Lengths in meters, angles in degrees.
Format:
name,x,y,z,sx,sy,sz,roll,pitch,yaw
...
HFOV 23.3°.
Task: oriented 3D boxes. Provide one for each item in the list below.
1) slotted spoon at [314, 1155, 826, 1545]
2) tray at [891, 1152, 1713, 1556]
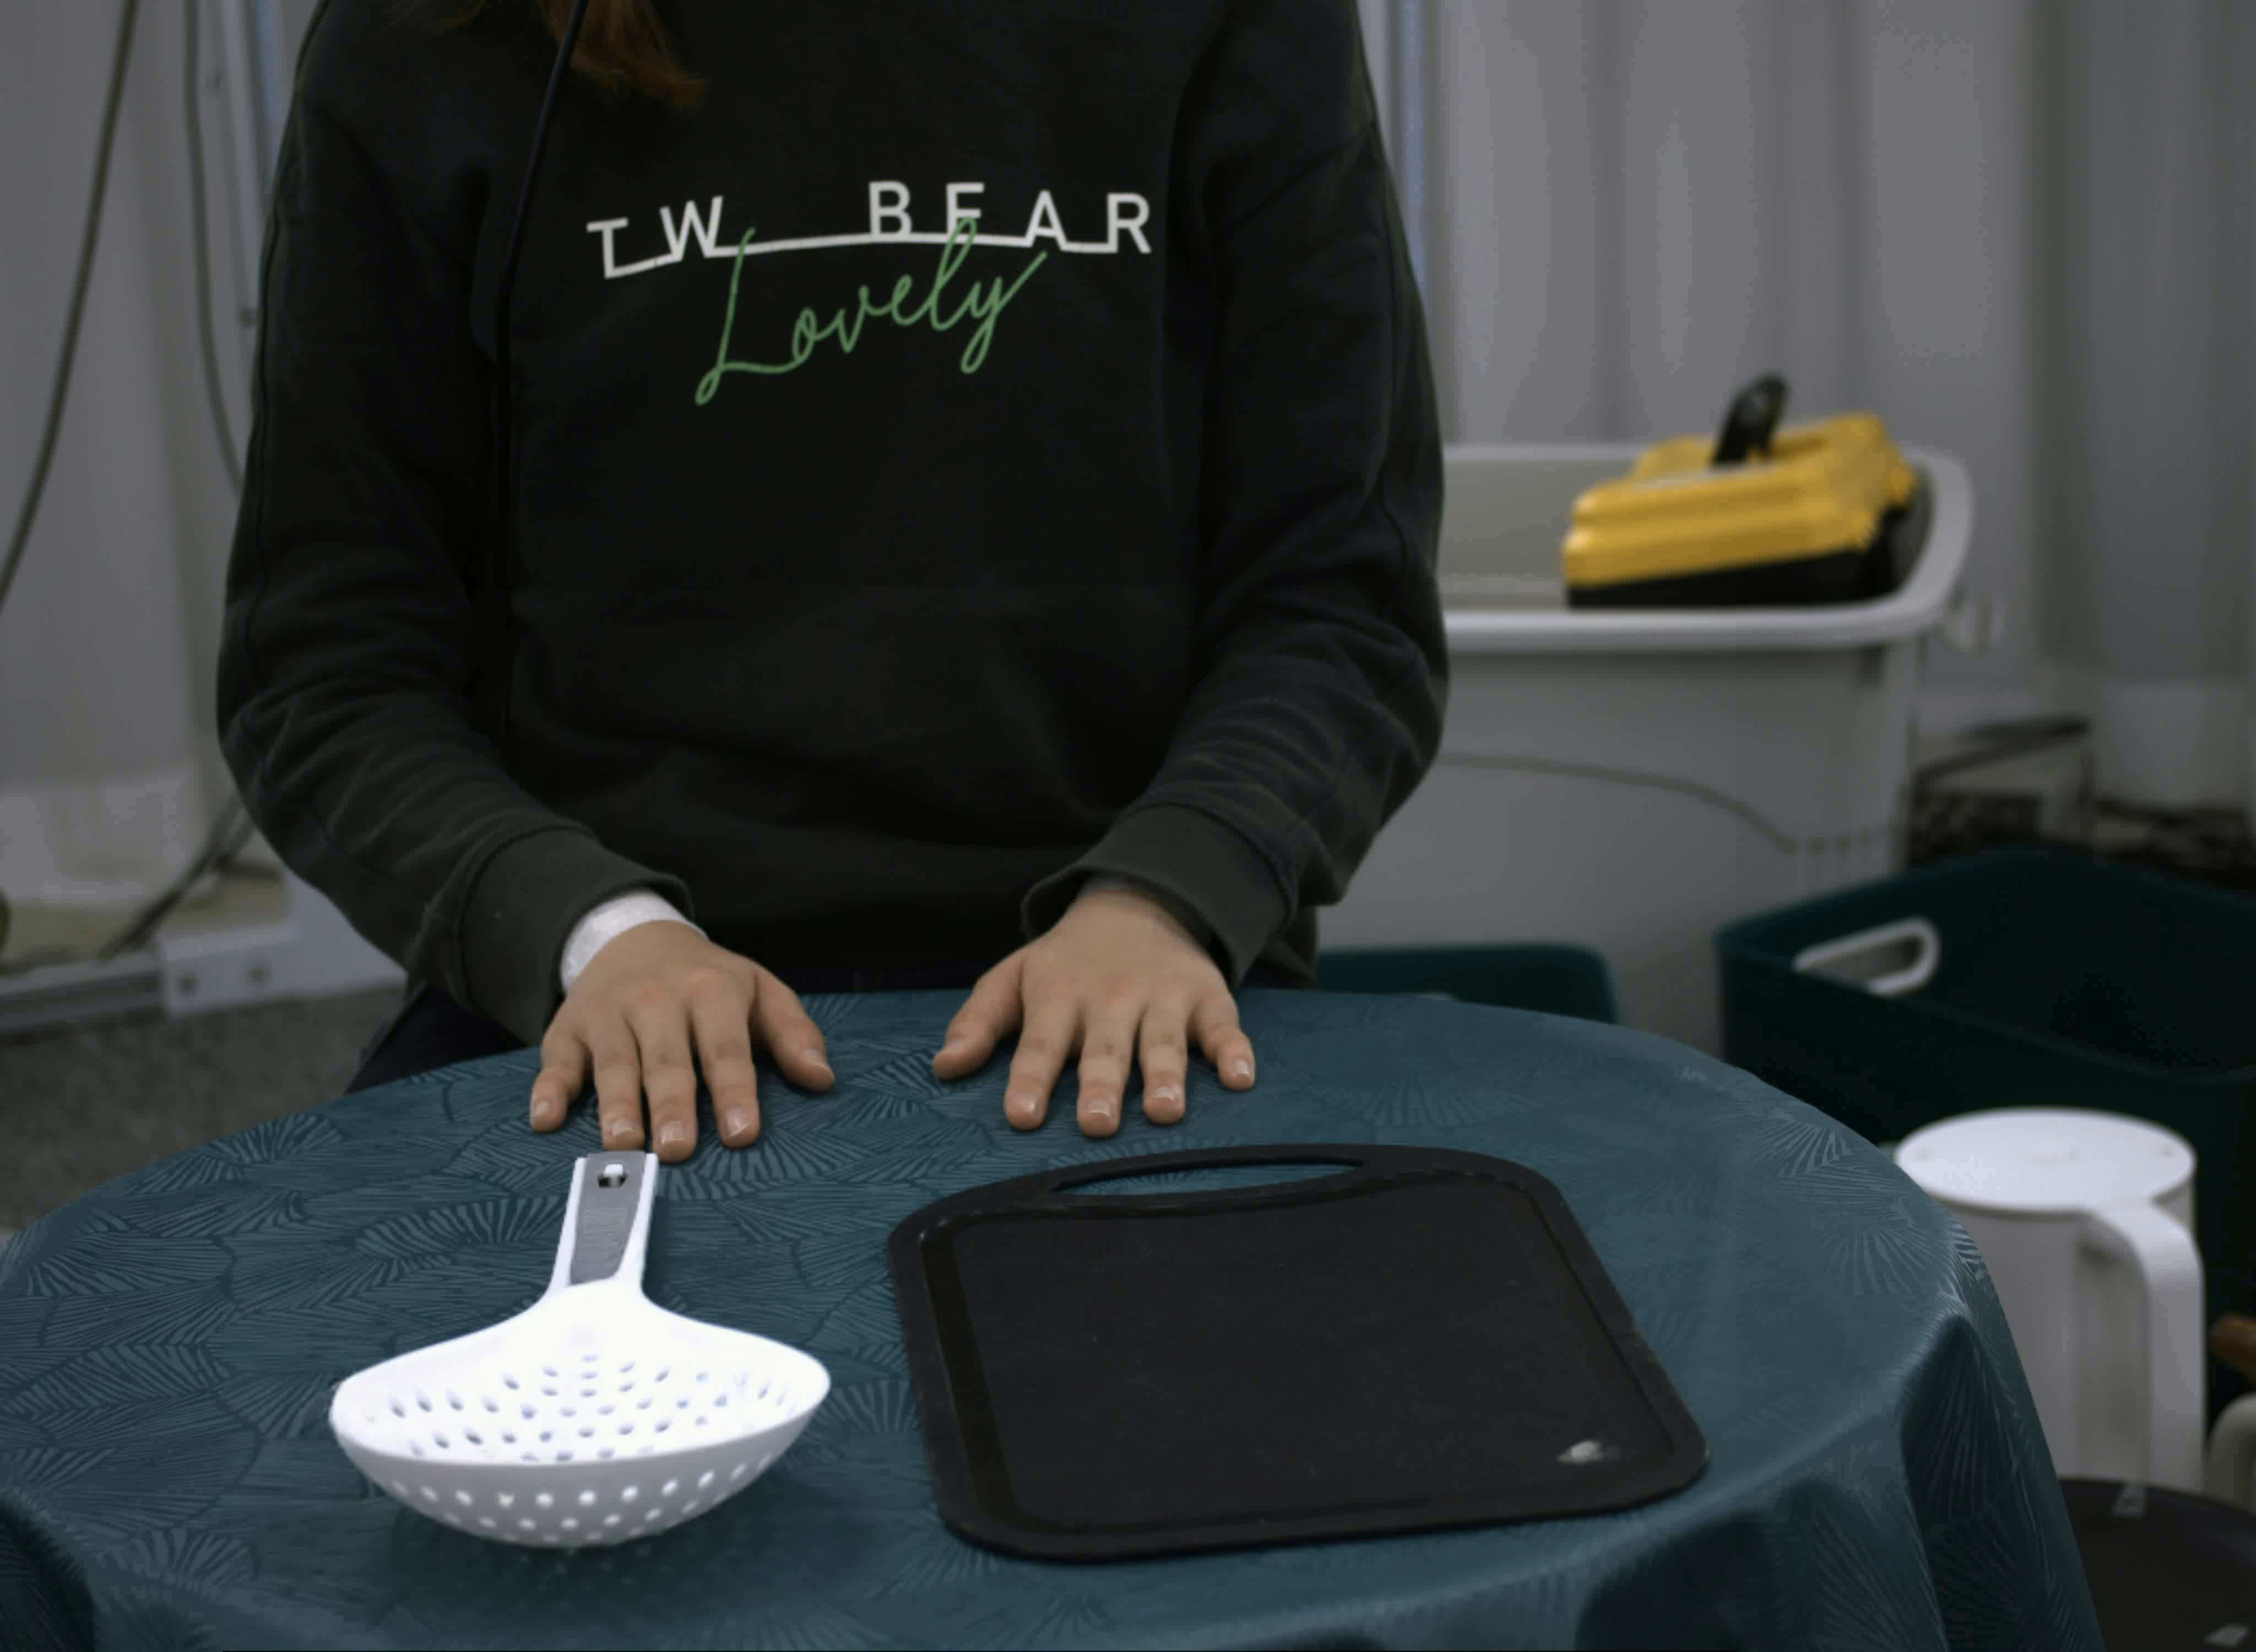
name,x,y,z,sx,sy,sz,roll,pitch,yaw
slotted spoon,-0.153,0.140,1.561,0.135,0.045,0.352,-1,14,-2
tray,0.041,0.145,1.581,0.210,0.010,0.328,-4,15,-5
